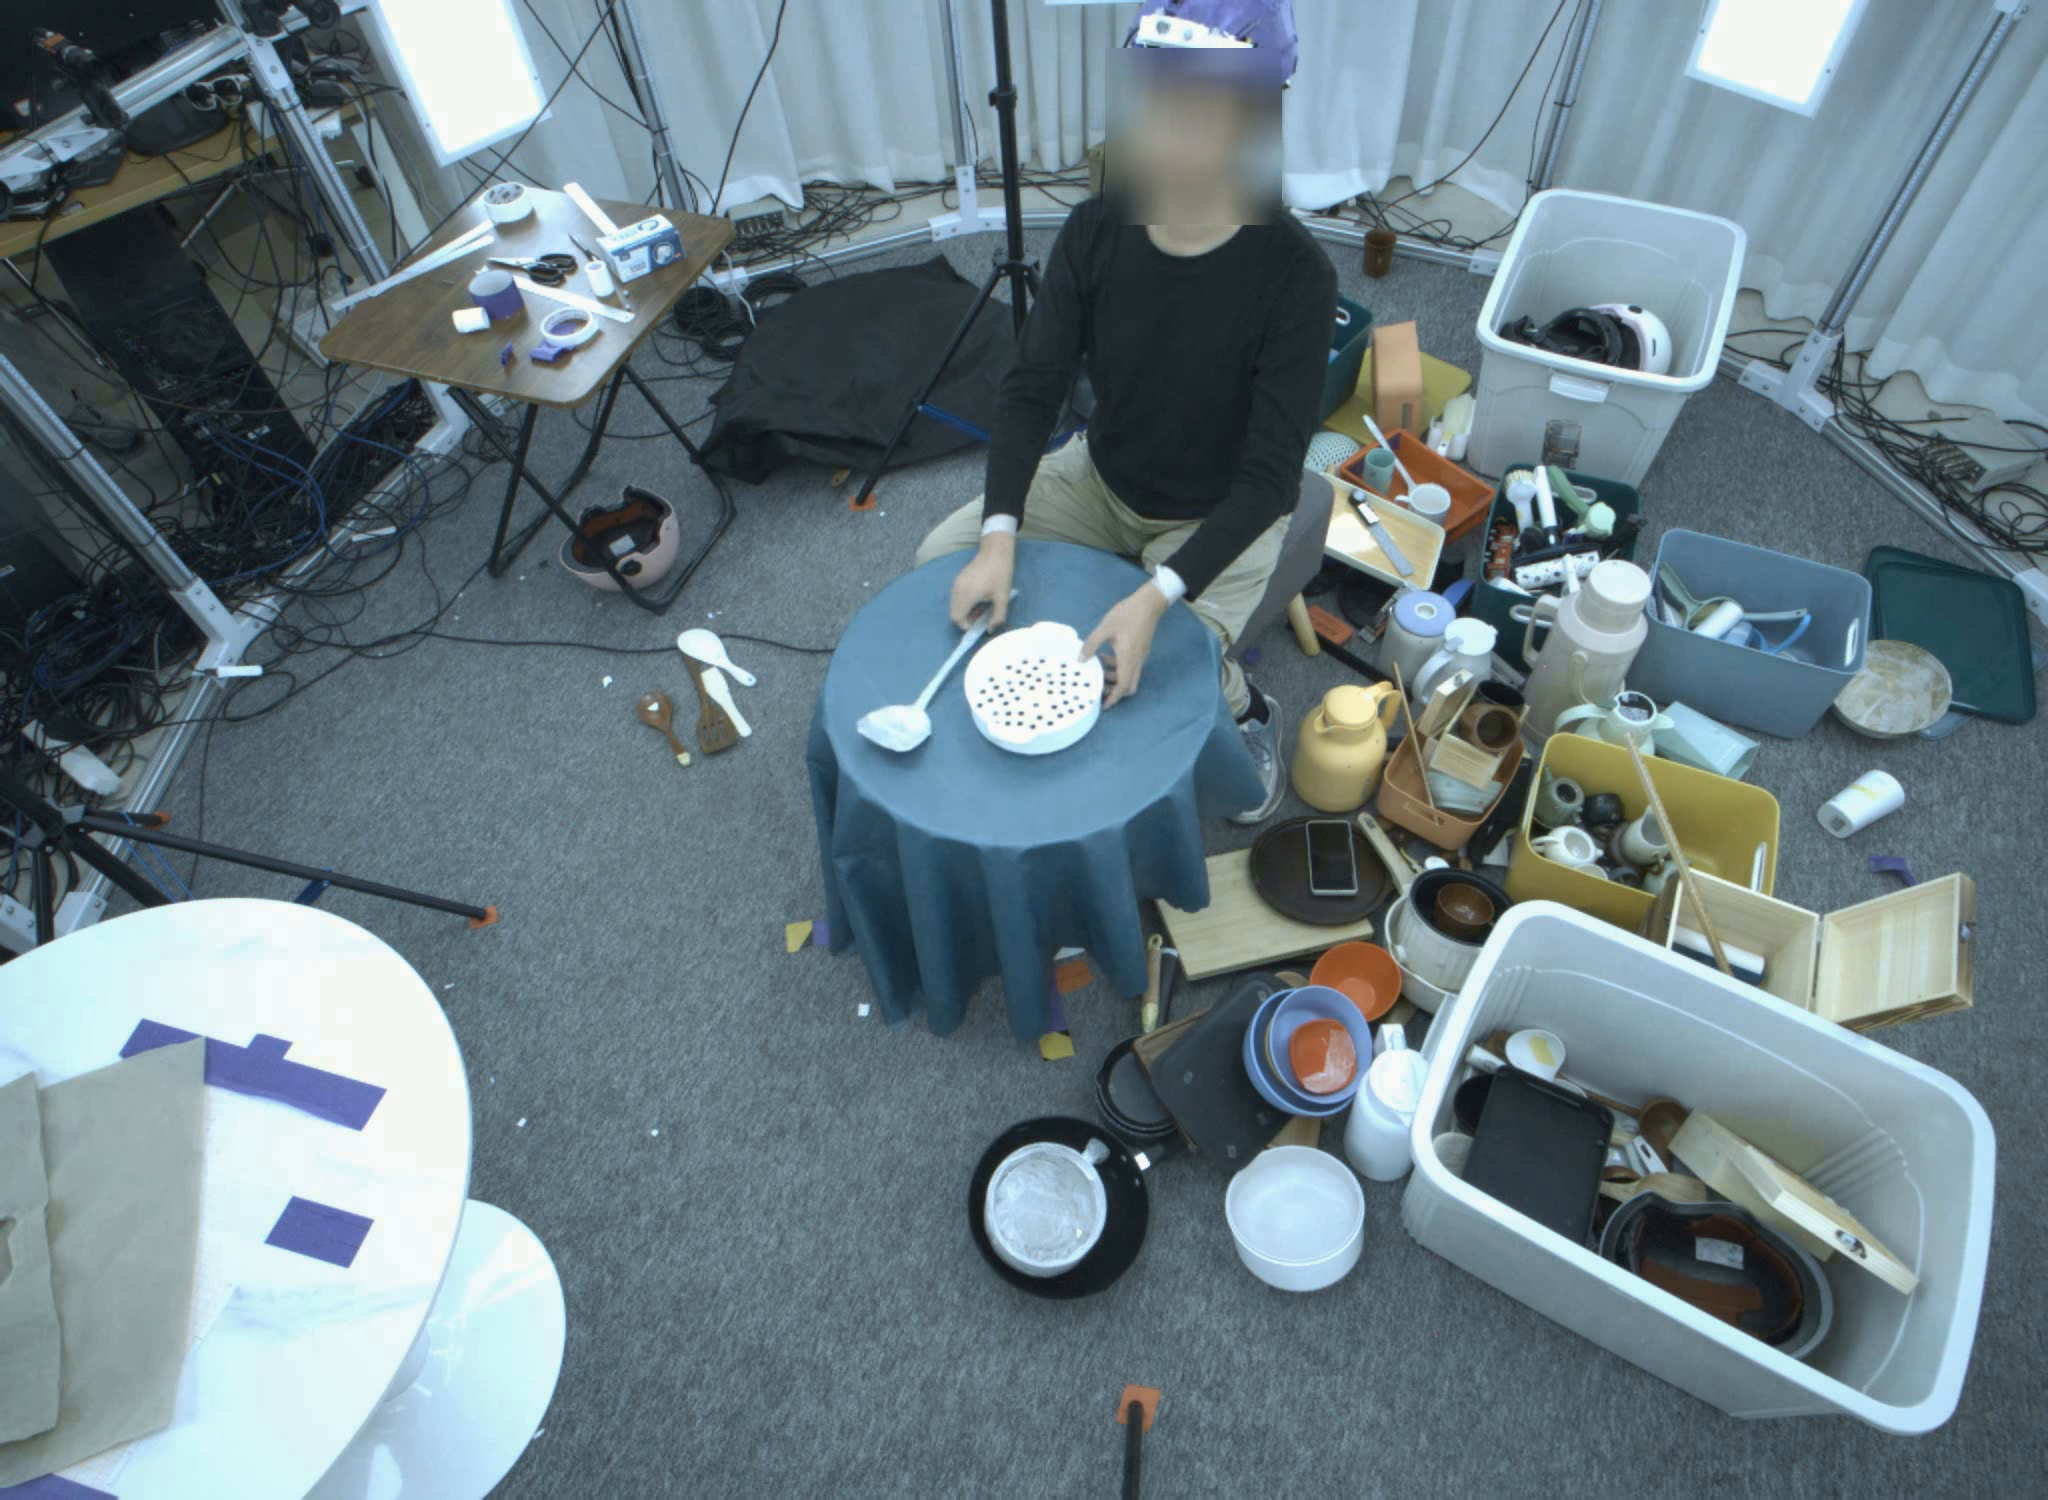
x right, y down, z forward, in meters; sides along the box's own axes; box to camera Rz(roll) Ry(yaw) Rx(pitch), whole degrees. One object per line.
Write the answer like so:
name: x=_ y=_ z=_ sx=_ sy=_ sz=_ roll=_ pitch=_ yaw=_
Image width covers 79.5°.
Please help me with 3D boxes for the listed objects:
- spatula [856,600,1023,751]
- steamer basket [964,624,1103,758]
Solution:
spatula: x=-0.112 y=-0.127 z=1.856 sx=0.097 sy=0.045 sz=0.366 roll=26 pitch=61 yaw=21
steamer basket: x=0.015 y=-0.082 z=1.802 sx=0.200 sy=0.070 sz=0.230 roll=15 pitch=56 yaw=11
